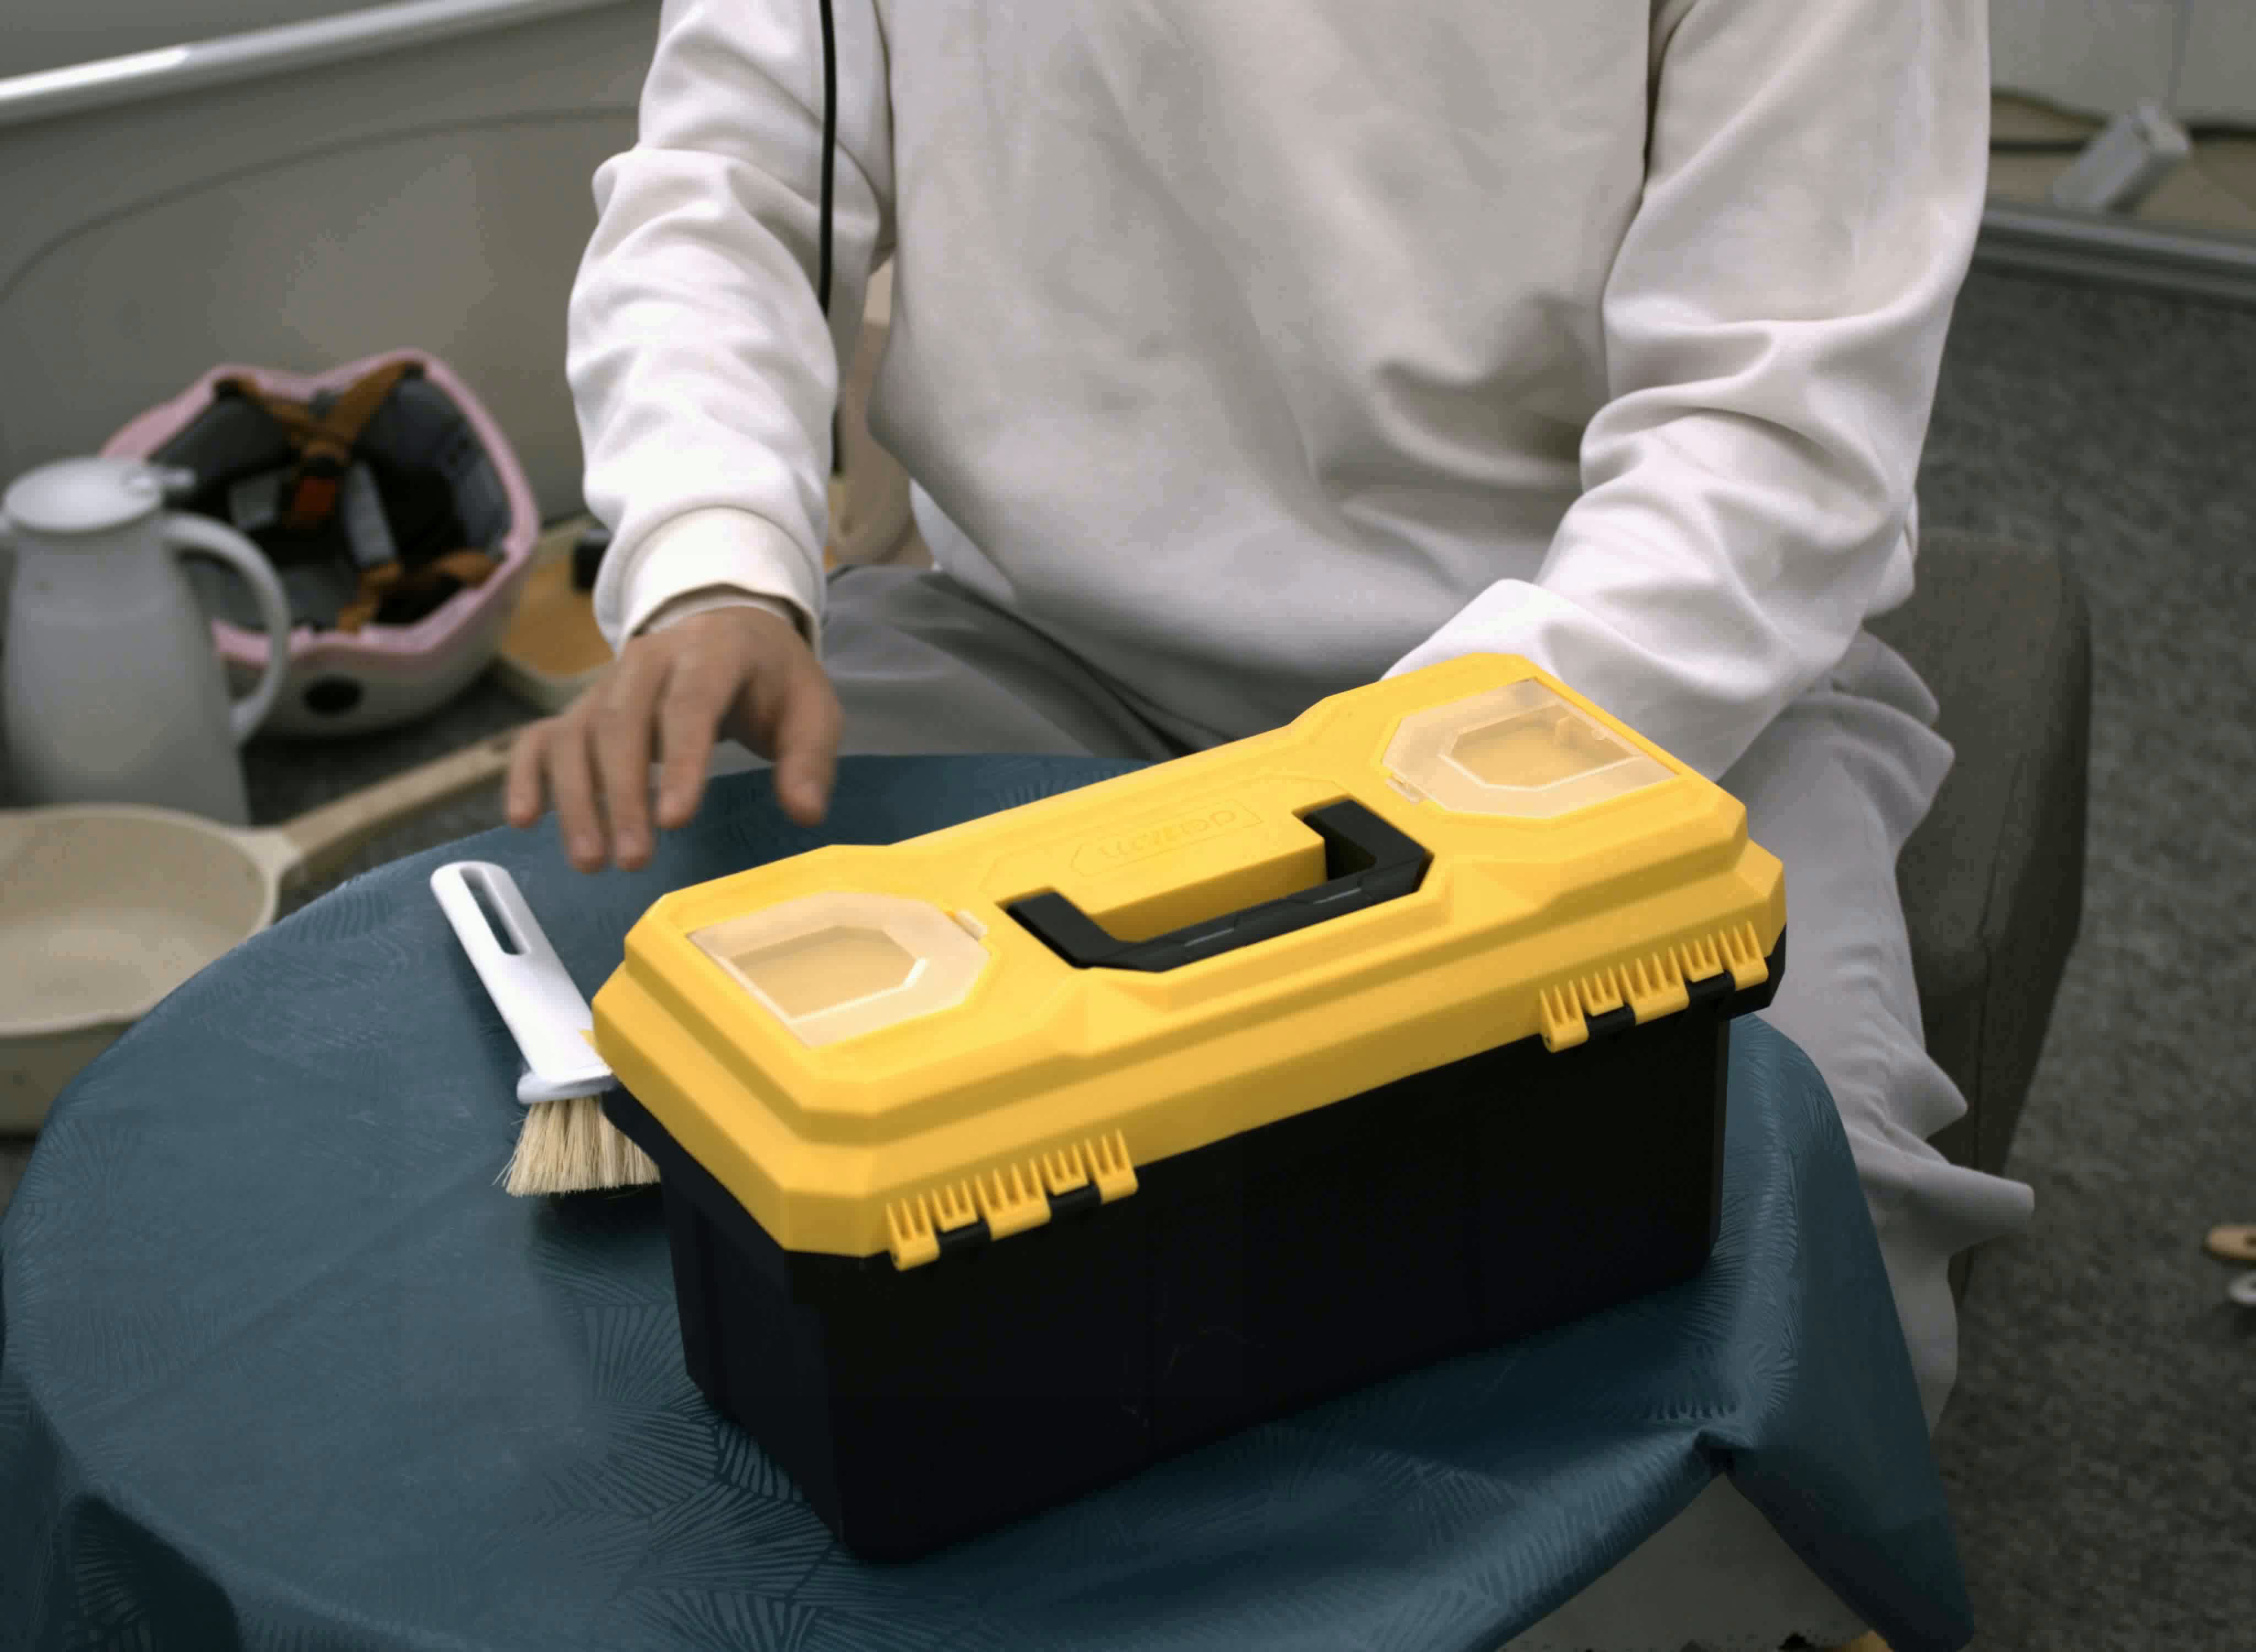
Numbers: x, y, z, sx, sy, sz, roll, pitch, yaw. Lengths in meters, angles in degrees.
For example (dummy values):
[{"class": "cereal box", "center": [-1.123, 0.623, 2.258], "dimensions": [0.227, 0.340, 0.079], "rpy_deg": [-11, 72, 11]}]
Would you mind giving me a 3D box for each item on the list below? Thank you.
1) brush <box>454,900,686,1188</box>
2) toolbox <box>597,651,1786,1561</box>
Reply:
[{"class": "brush", "center": [-0.199, 0.078, 1.954], "dimensions": [0.068, 0.056, 0.266], "rpy_deg": [11, 6, -20]}, {"class": "toolbox", "center": [0.022, 0.082, 1.752], "dimensions": [0.353, 0.171, 0.182], "rpy_deg": [-16, 31, -26]}]
